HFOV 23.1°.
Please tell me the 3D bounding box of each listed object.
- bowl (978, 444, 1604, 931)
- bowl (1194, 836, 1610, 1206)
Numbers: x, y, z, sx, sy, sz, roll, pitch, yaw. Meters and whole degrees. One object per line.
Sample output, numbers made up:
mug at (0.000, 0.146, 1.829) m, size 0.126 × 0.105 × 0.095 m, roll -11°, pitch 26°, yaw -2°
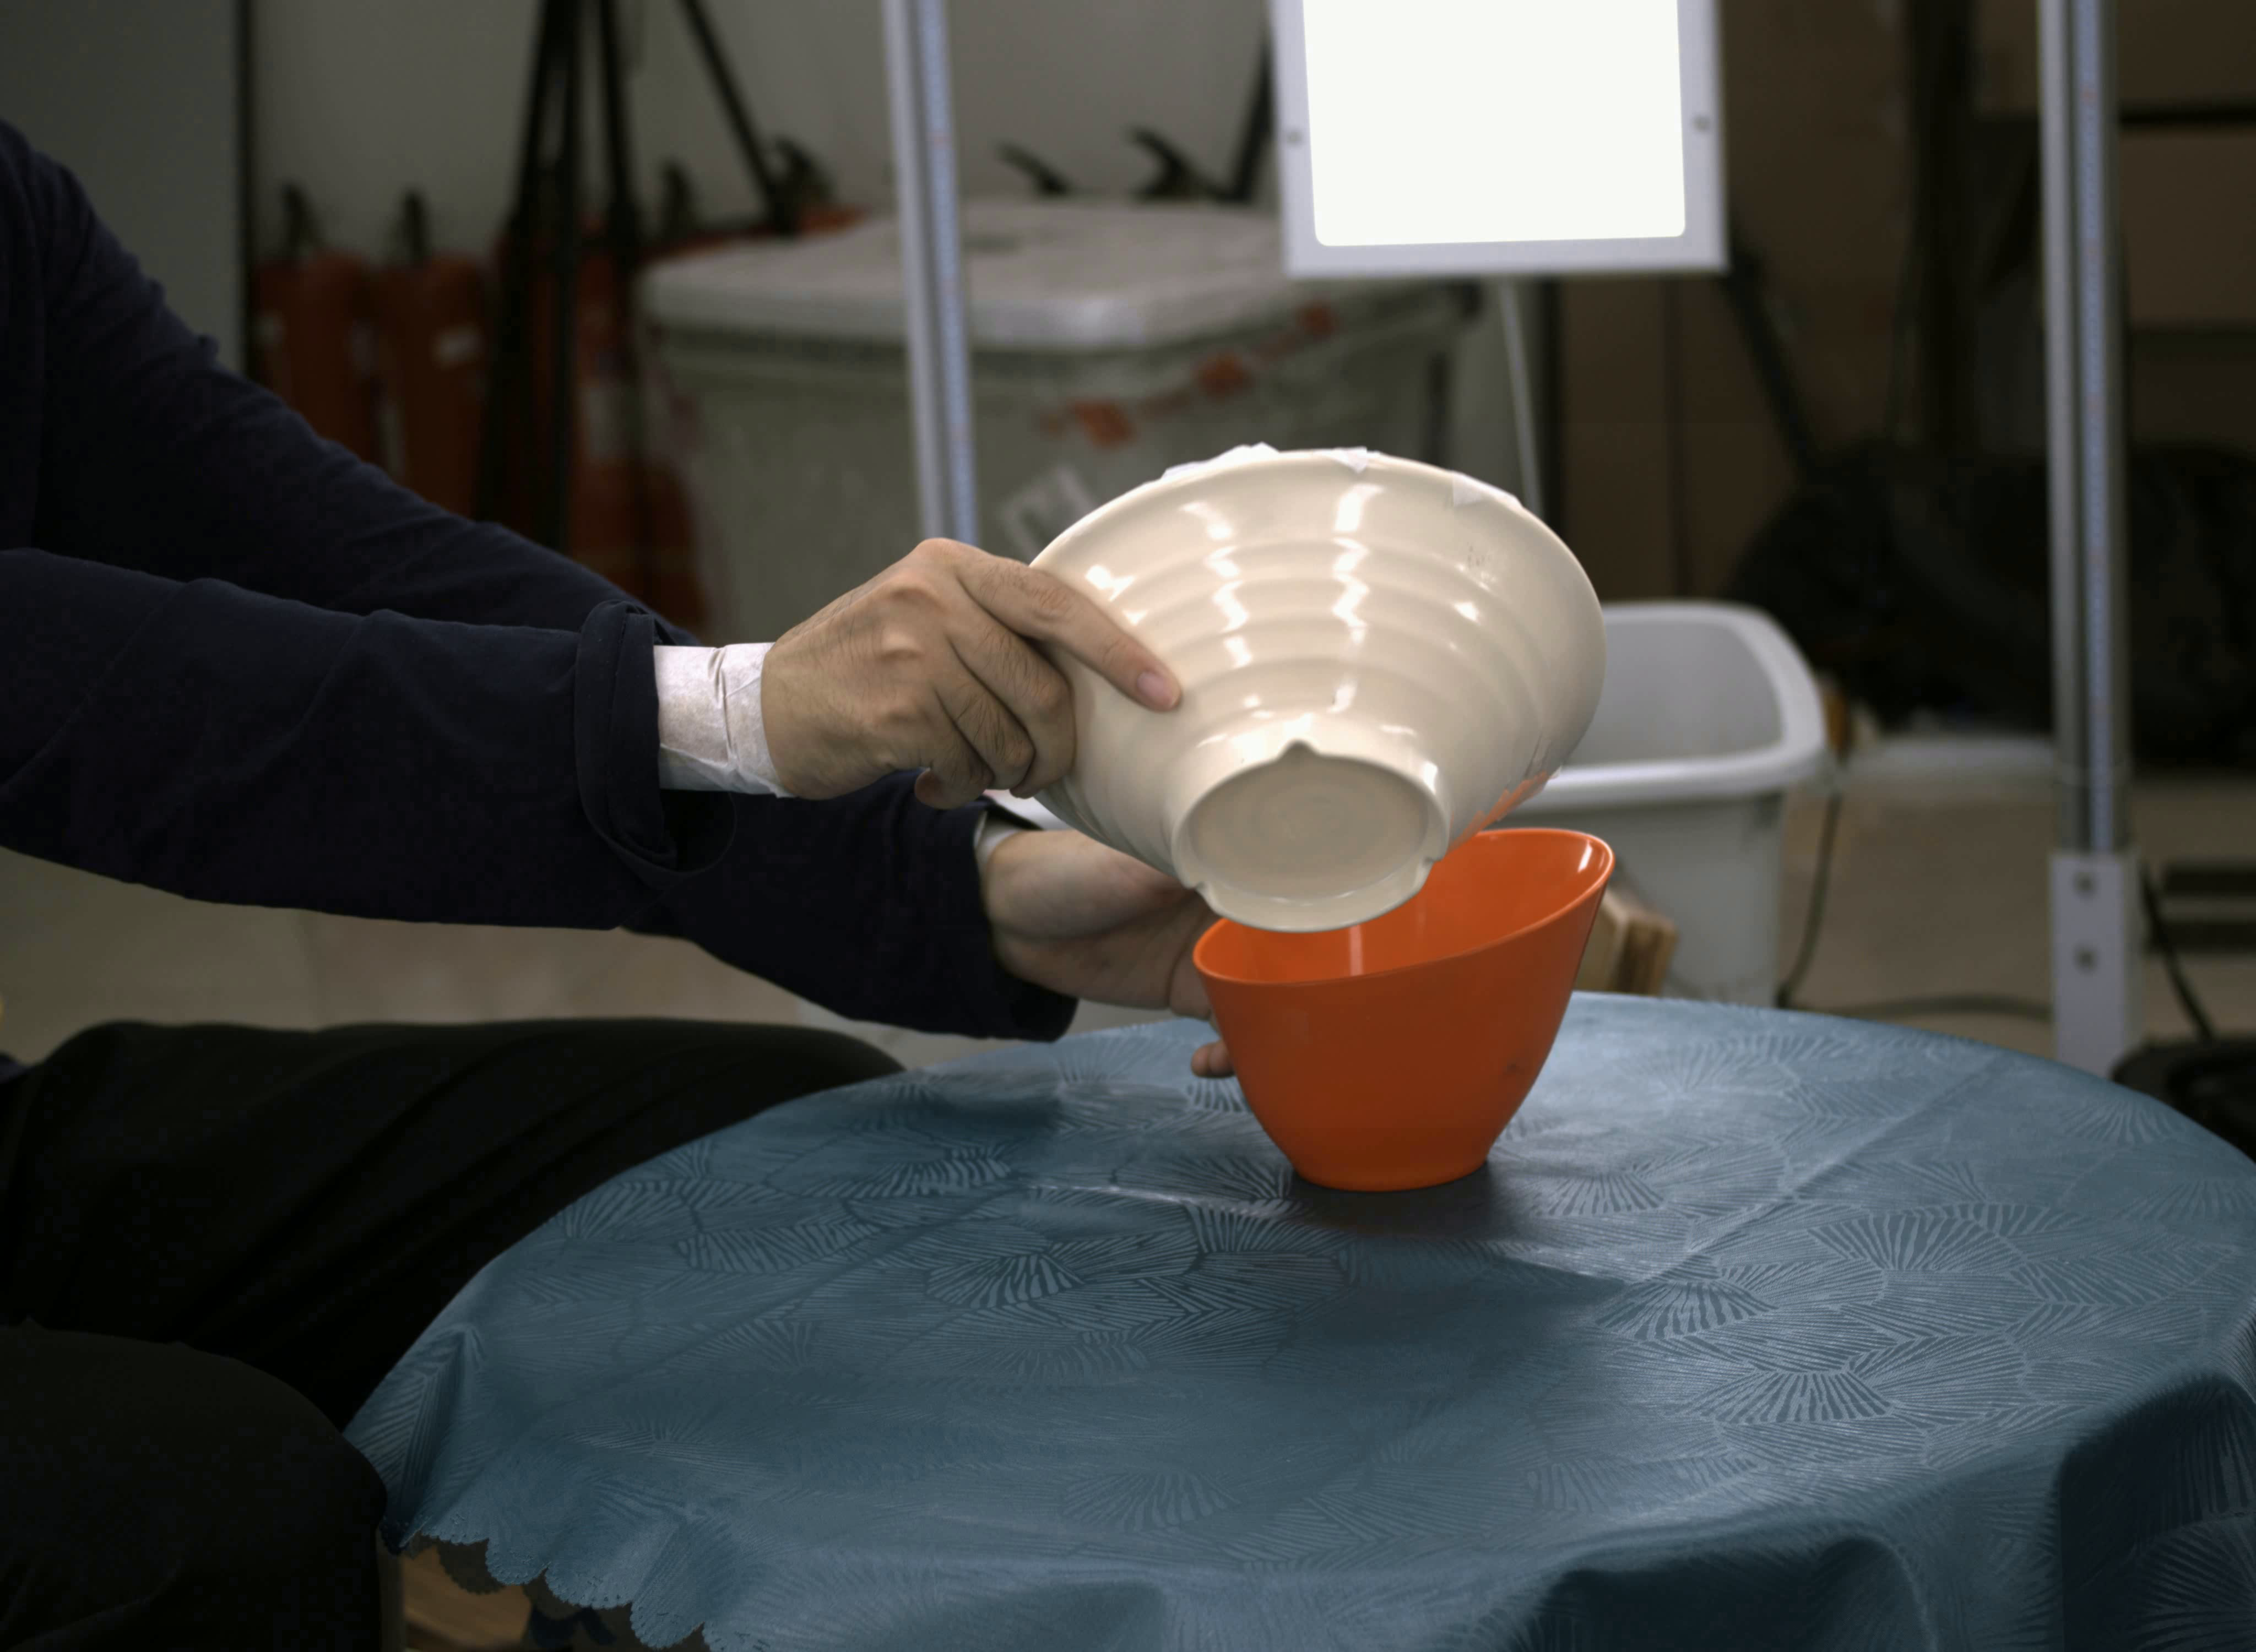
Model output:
bowl at (0.055, -0.024, 1.751) m, size 0.204 × 0.204 × 0.078 m, roll -4°, pitch 50°, yaw 2°
bowl at (0.100, 0.070, 1.896) m, size 0.148 × 0.105 × 0.148 m, roll -9°, pitch 12°, yaw 1°
